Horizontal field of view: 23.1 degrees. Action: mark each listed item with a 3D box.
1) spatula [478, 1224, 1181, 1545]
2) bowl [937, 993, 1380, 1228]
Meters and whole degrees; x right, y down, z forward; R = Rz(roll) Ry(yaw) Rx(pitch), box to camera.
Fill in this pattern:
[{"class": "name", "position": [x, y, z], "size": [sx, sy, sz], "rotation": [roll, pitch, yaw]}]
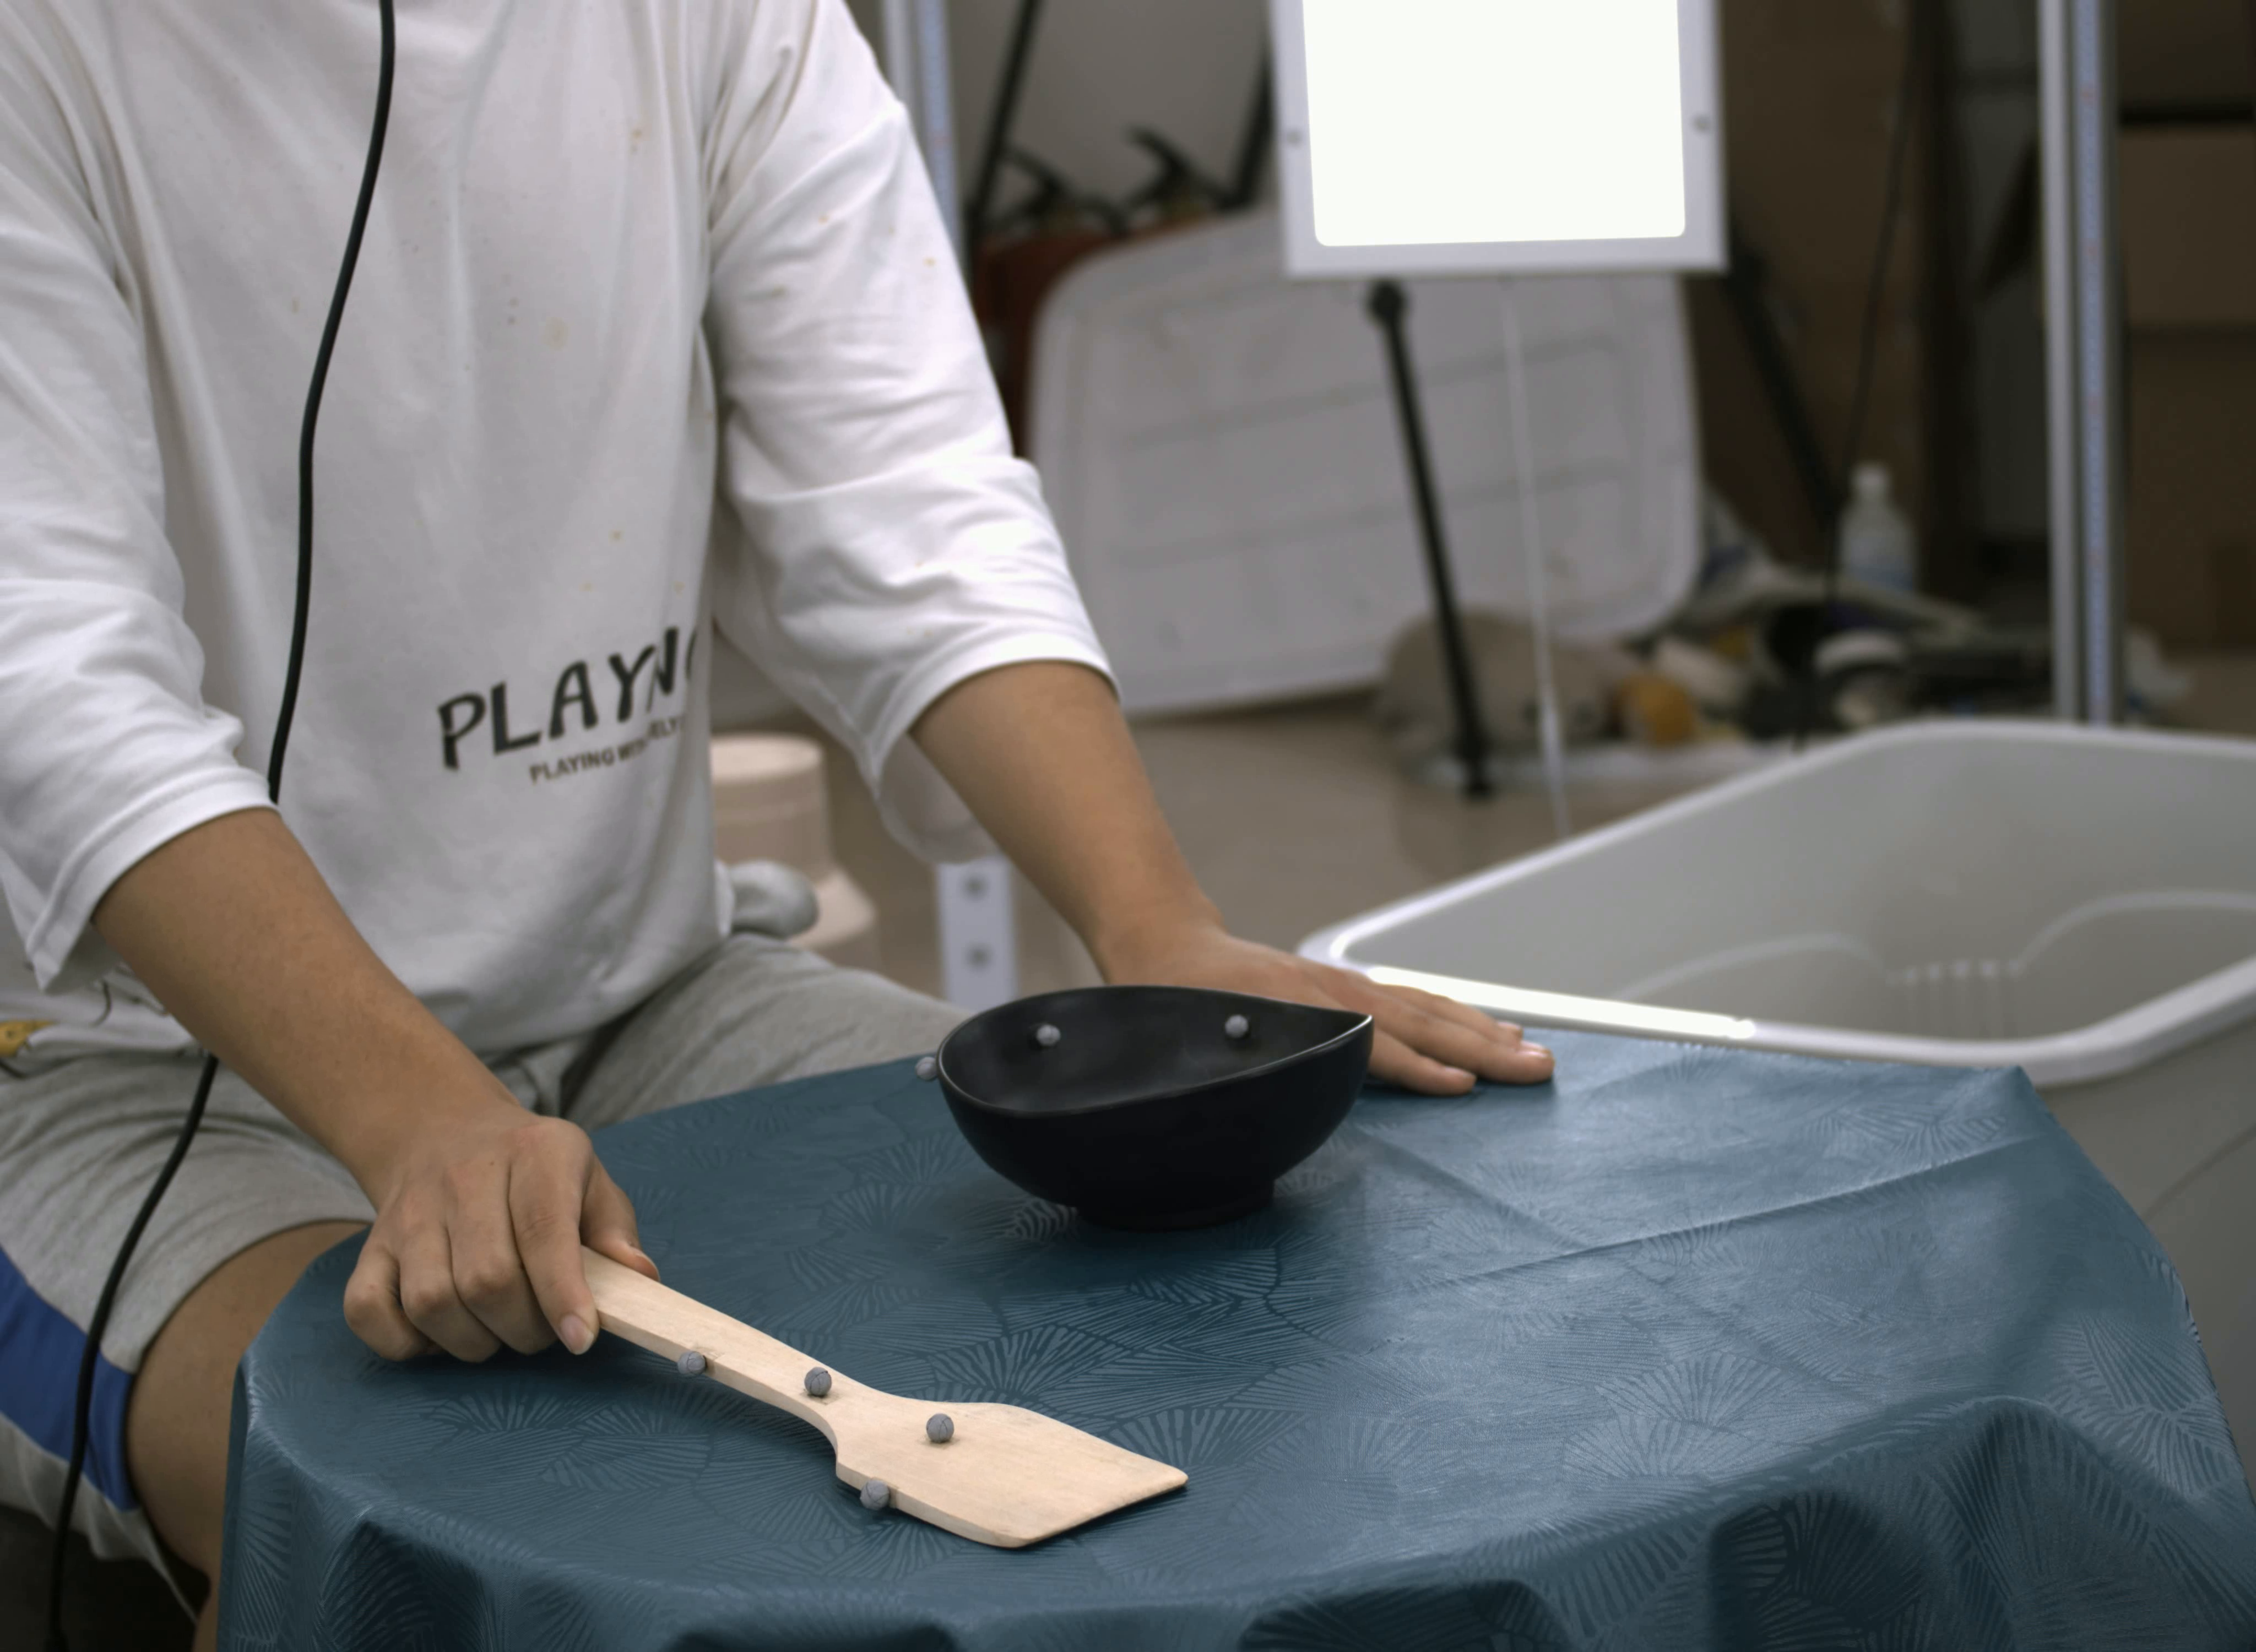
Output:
[{"class": "spatula", "position": [-0.106, 0.168, 1.698], "size": [0.070, 0.011, 0.299], "rotation": [-17, 24, -39]}, {"class": "bowl", "position": [0.013, 0.098, 1.878], "size": [0.140, 0.067, 0.166], "rotation": [6, 15, 40]}]
